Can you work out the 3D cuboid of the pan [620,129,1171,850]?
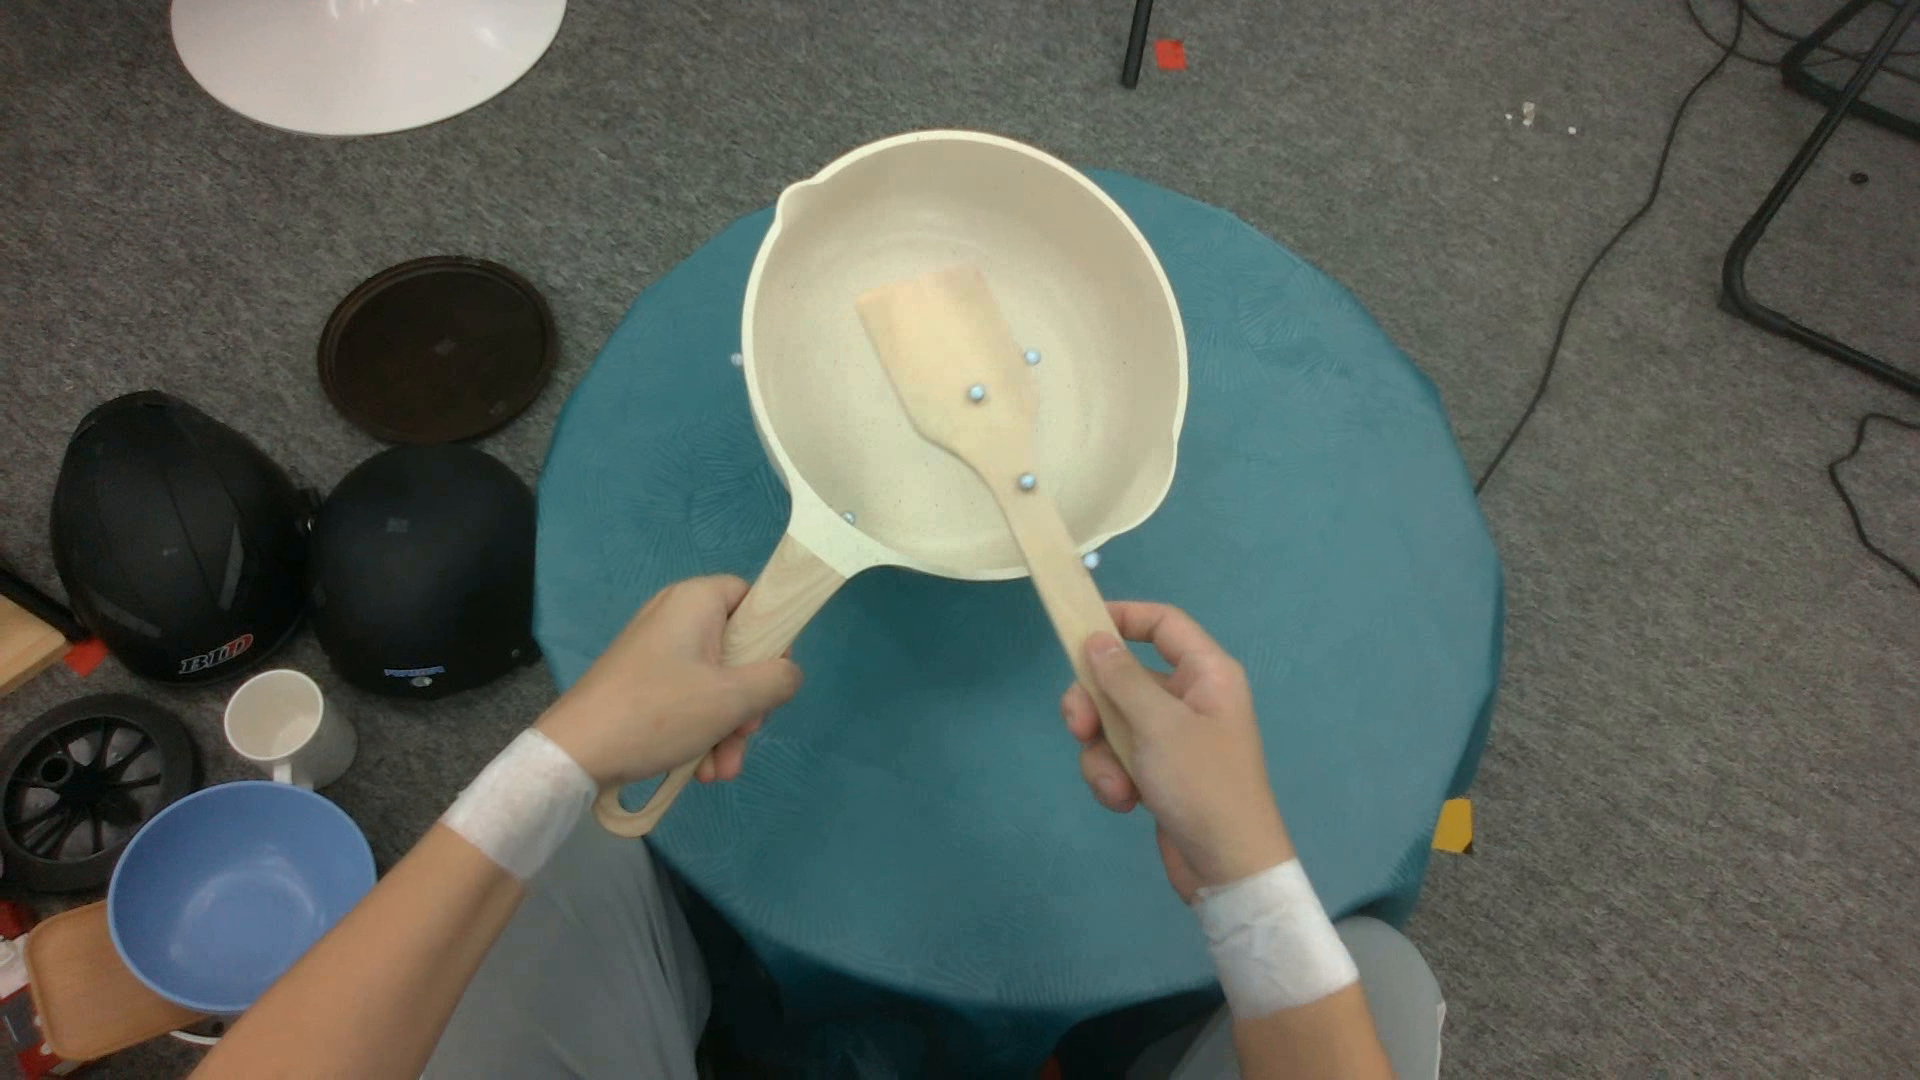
[{"bbox_3d":[-0.056,-0.027,0.755,0.263,0.101,0.436,36,72,-9],"label":"pan"}]

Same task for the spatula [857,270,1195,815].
[{"bbox_3d":[0.038,-0.004,0.668,0.072,0.010,0.293,-21,73,-16],"label":"spatula"}]
